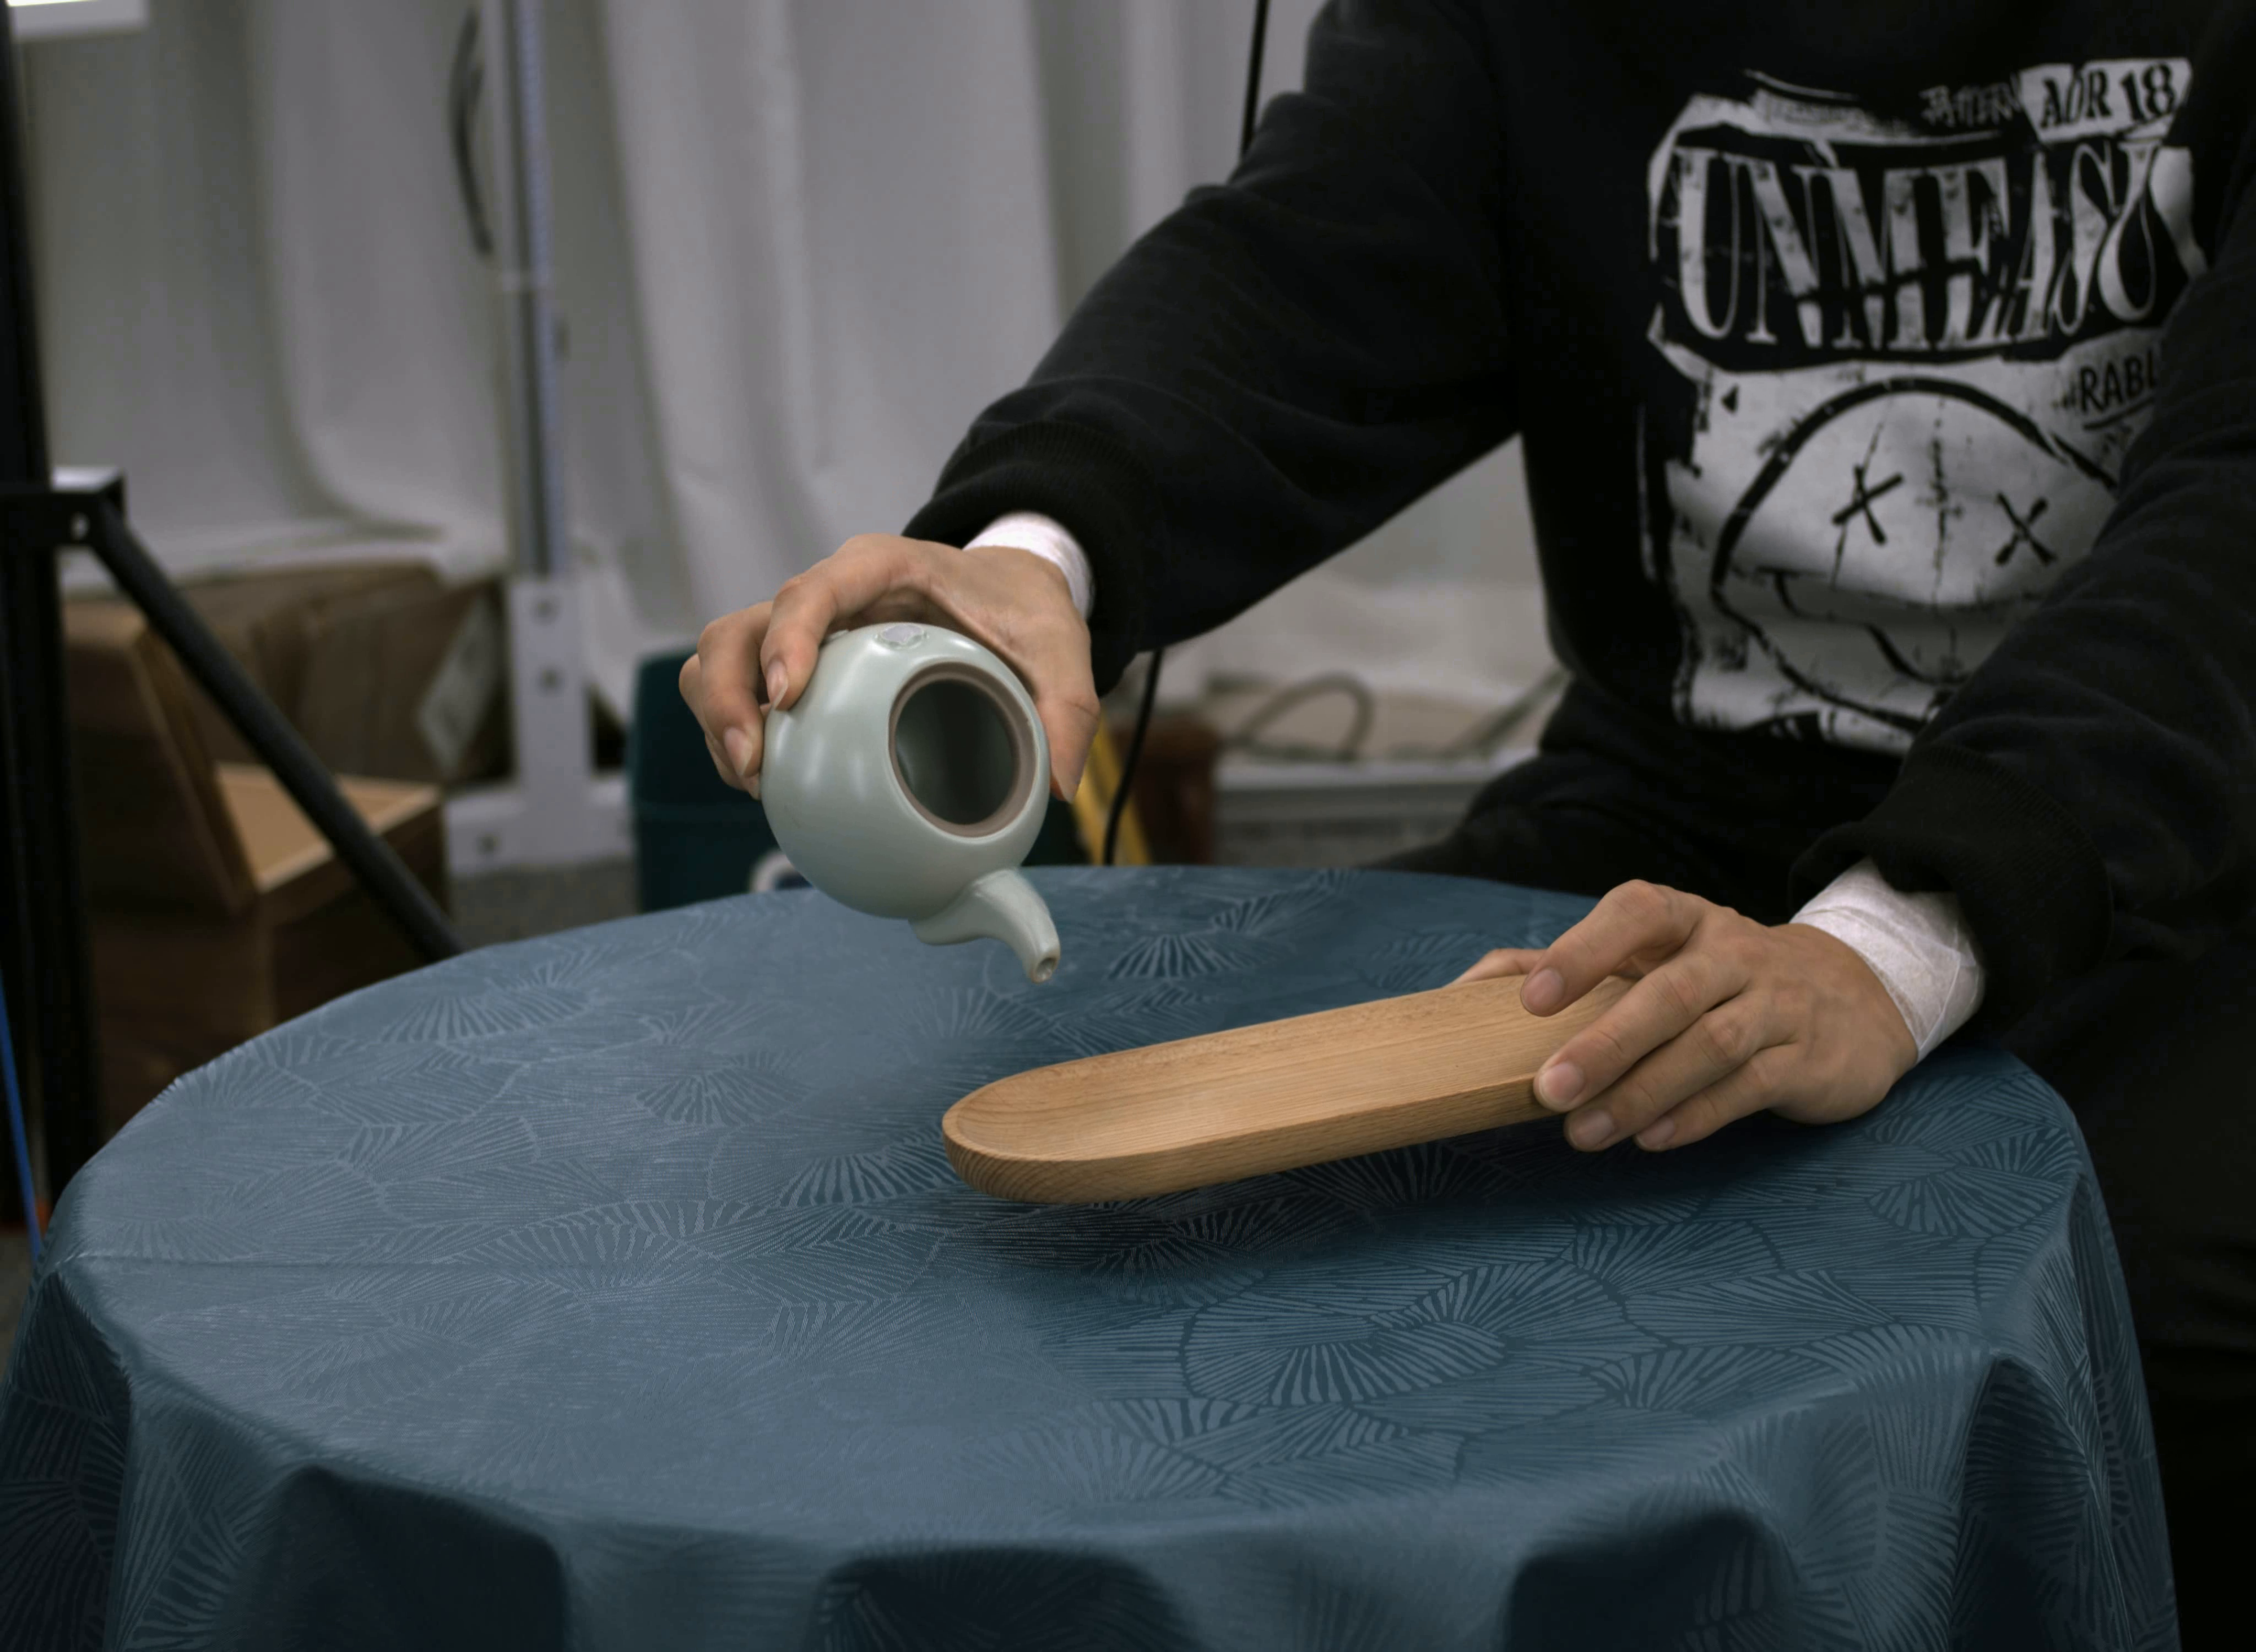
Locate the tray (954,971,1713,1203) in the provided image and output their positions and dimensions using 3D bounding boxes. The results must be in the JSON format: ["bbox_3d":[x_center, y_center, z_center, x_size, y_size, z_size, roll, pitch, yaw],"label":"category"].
[{"bbox_3d":[0.062,0.076,1.544,0.227,0.020,0.103,-9,16,-17],"label":"tray"}]

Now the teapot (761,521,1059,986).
[{"bbox_3d":[-0.065,-0.017,1.570,0.086,0.144,0.076,-18,2,-38],"label":"teapot"}]
